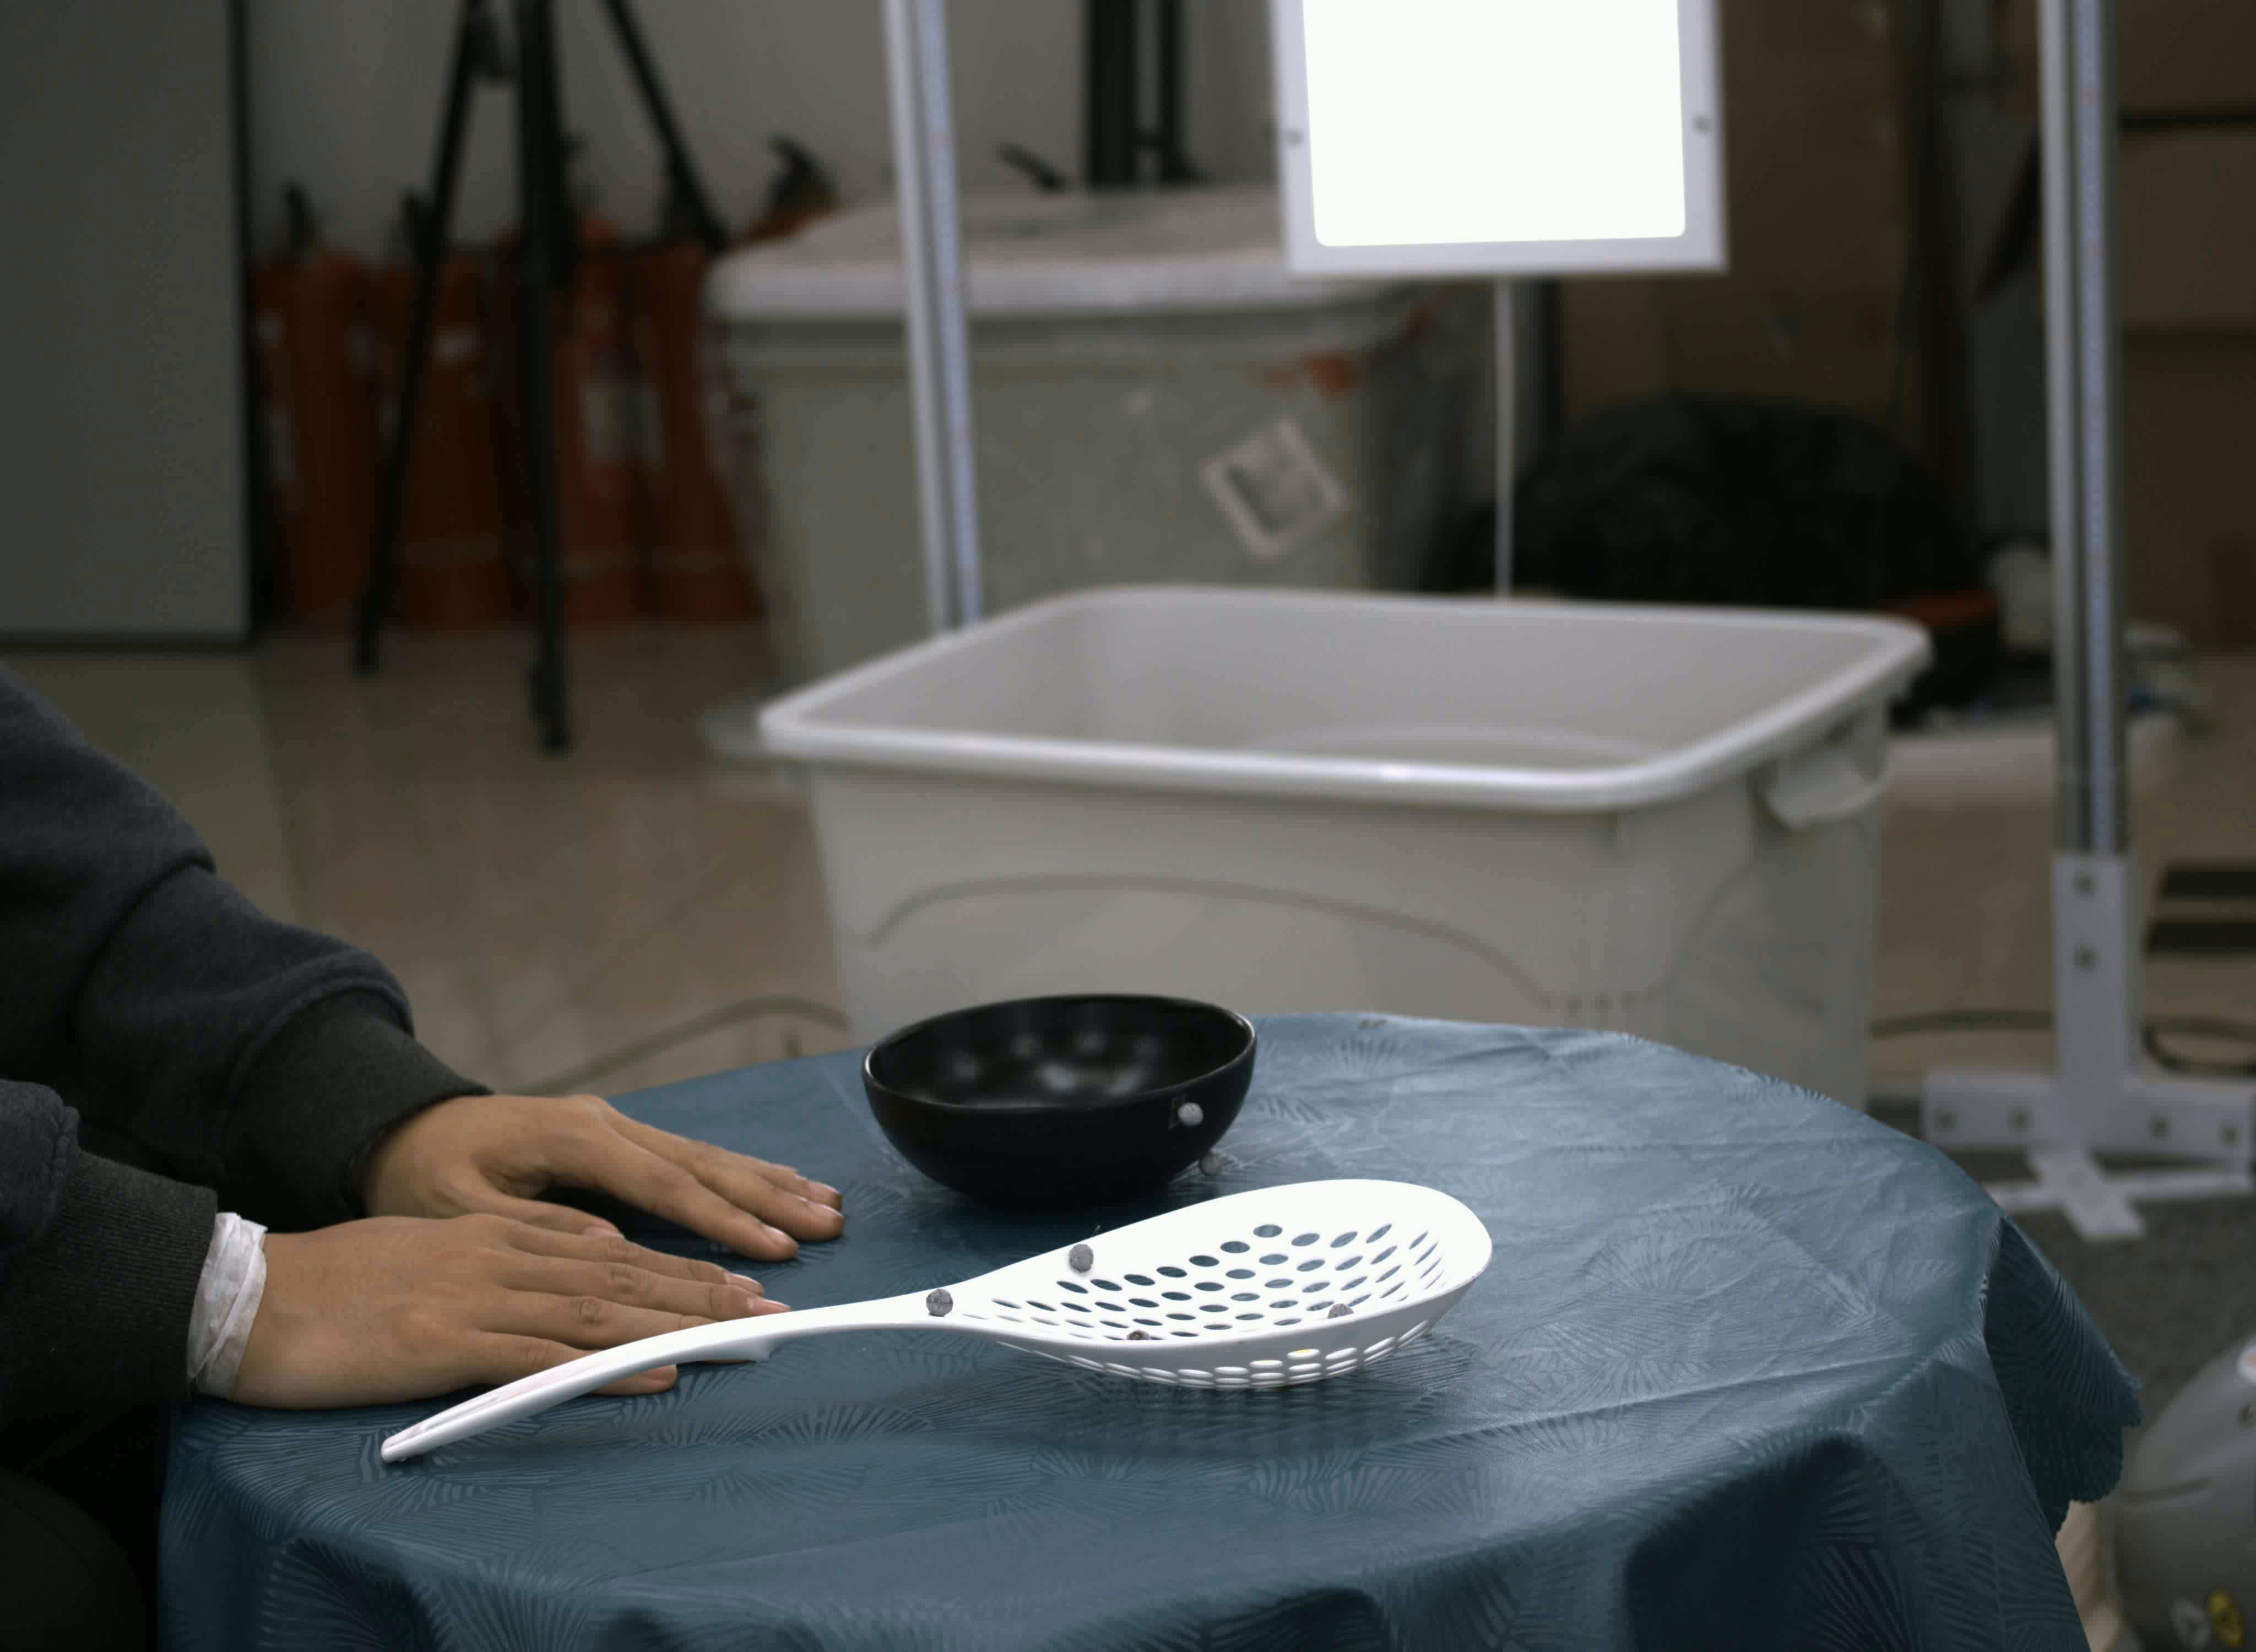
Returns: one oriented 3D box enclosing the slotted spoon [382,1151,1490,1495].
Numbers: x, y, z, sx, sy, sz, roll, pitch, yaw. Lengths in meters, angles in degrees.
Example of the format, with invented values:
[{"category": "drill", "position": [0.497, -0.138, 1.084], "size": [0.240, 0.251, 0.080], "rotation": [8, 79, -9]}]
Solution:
[{"category": "slotted spoon", "position": [-0.059, 0.160, 1.700], "size": [0.346, 0.050, 0.137], "rotation": [-6, 17, -2]}]
